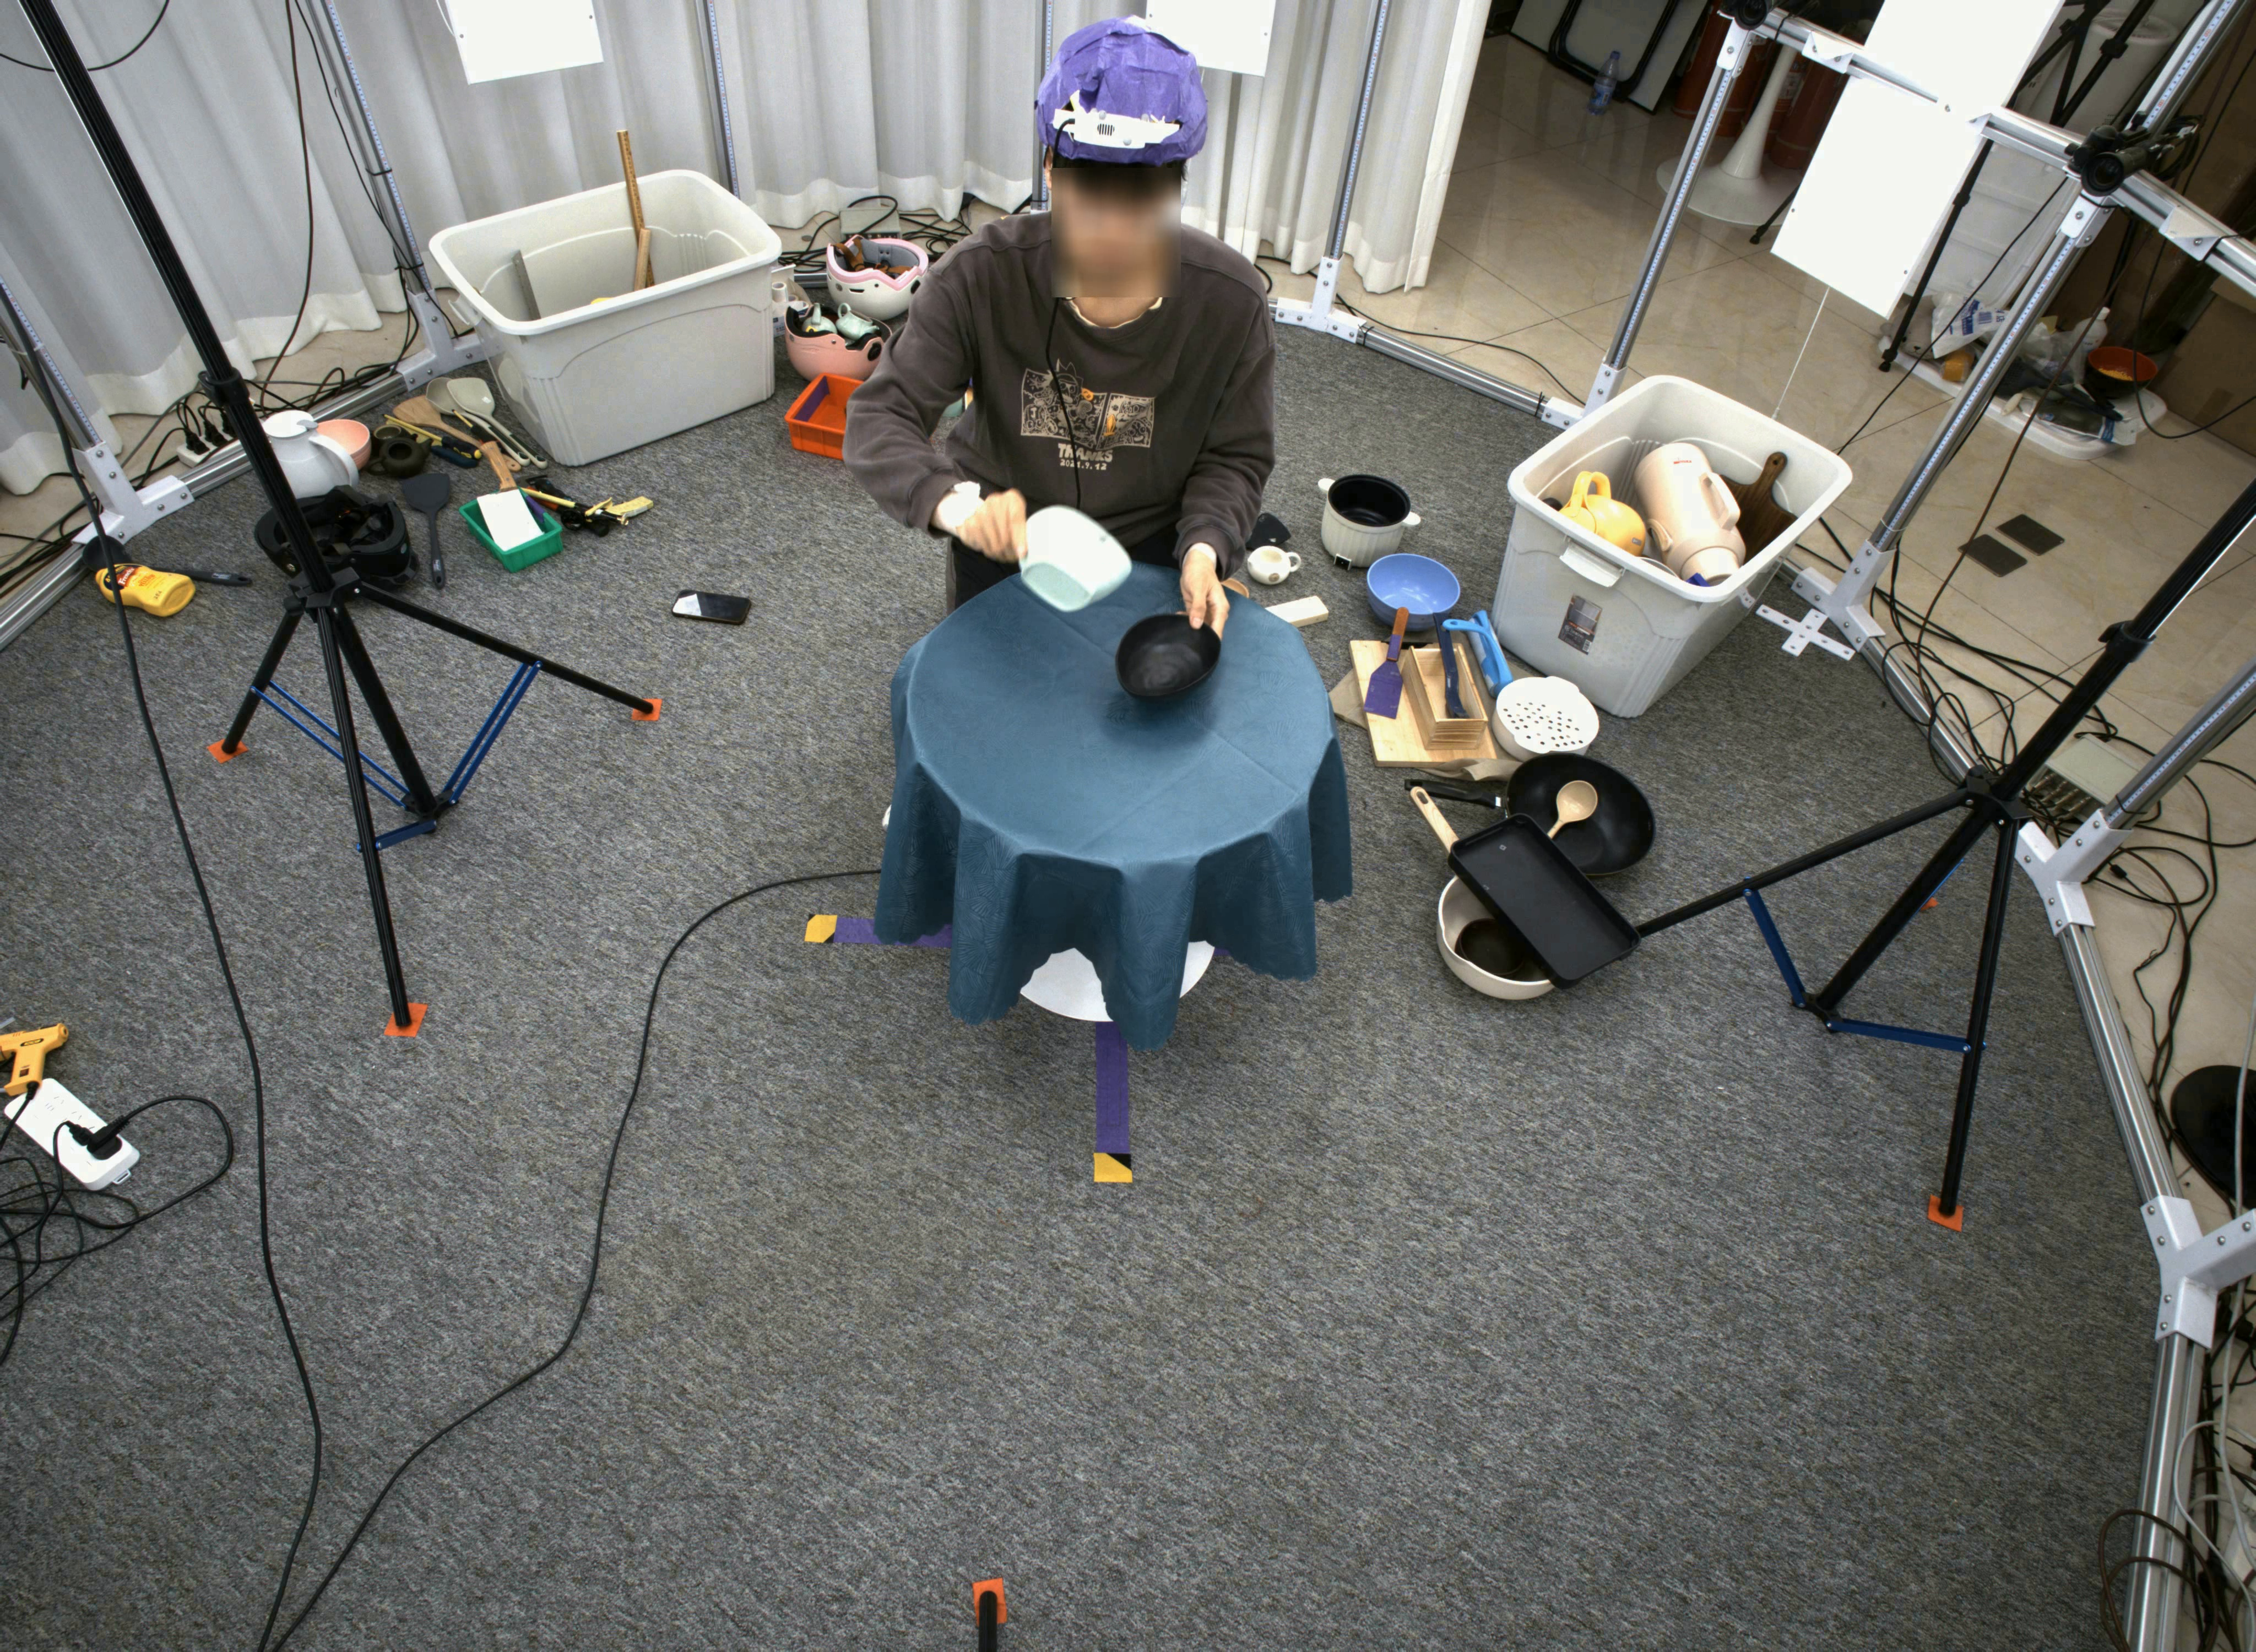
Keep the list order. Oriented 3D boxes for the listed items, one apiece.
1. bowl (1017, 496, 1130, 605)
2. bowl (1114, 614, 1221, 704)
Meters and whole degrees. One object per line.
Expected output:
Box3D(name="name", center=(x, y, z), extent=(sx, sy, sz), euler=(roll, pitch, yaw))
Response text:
Box3D(name="bowl", center=(-0.076, -0.320, 1.553), extent=(0.152, 0.148, 0.059), euler=(23, 59, 15))
Box3D(name="bowl", center=(0.055, -0.223, 1.801), extent=(0.139, 0.065, 0.172), euler=(29, 56, 21))
